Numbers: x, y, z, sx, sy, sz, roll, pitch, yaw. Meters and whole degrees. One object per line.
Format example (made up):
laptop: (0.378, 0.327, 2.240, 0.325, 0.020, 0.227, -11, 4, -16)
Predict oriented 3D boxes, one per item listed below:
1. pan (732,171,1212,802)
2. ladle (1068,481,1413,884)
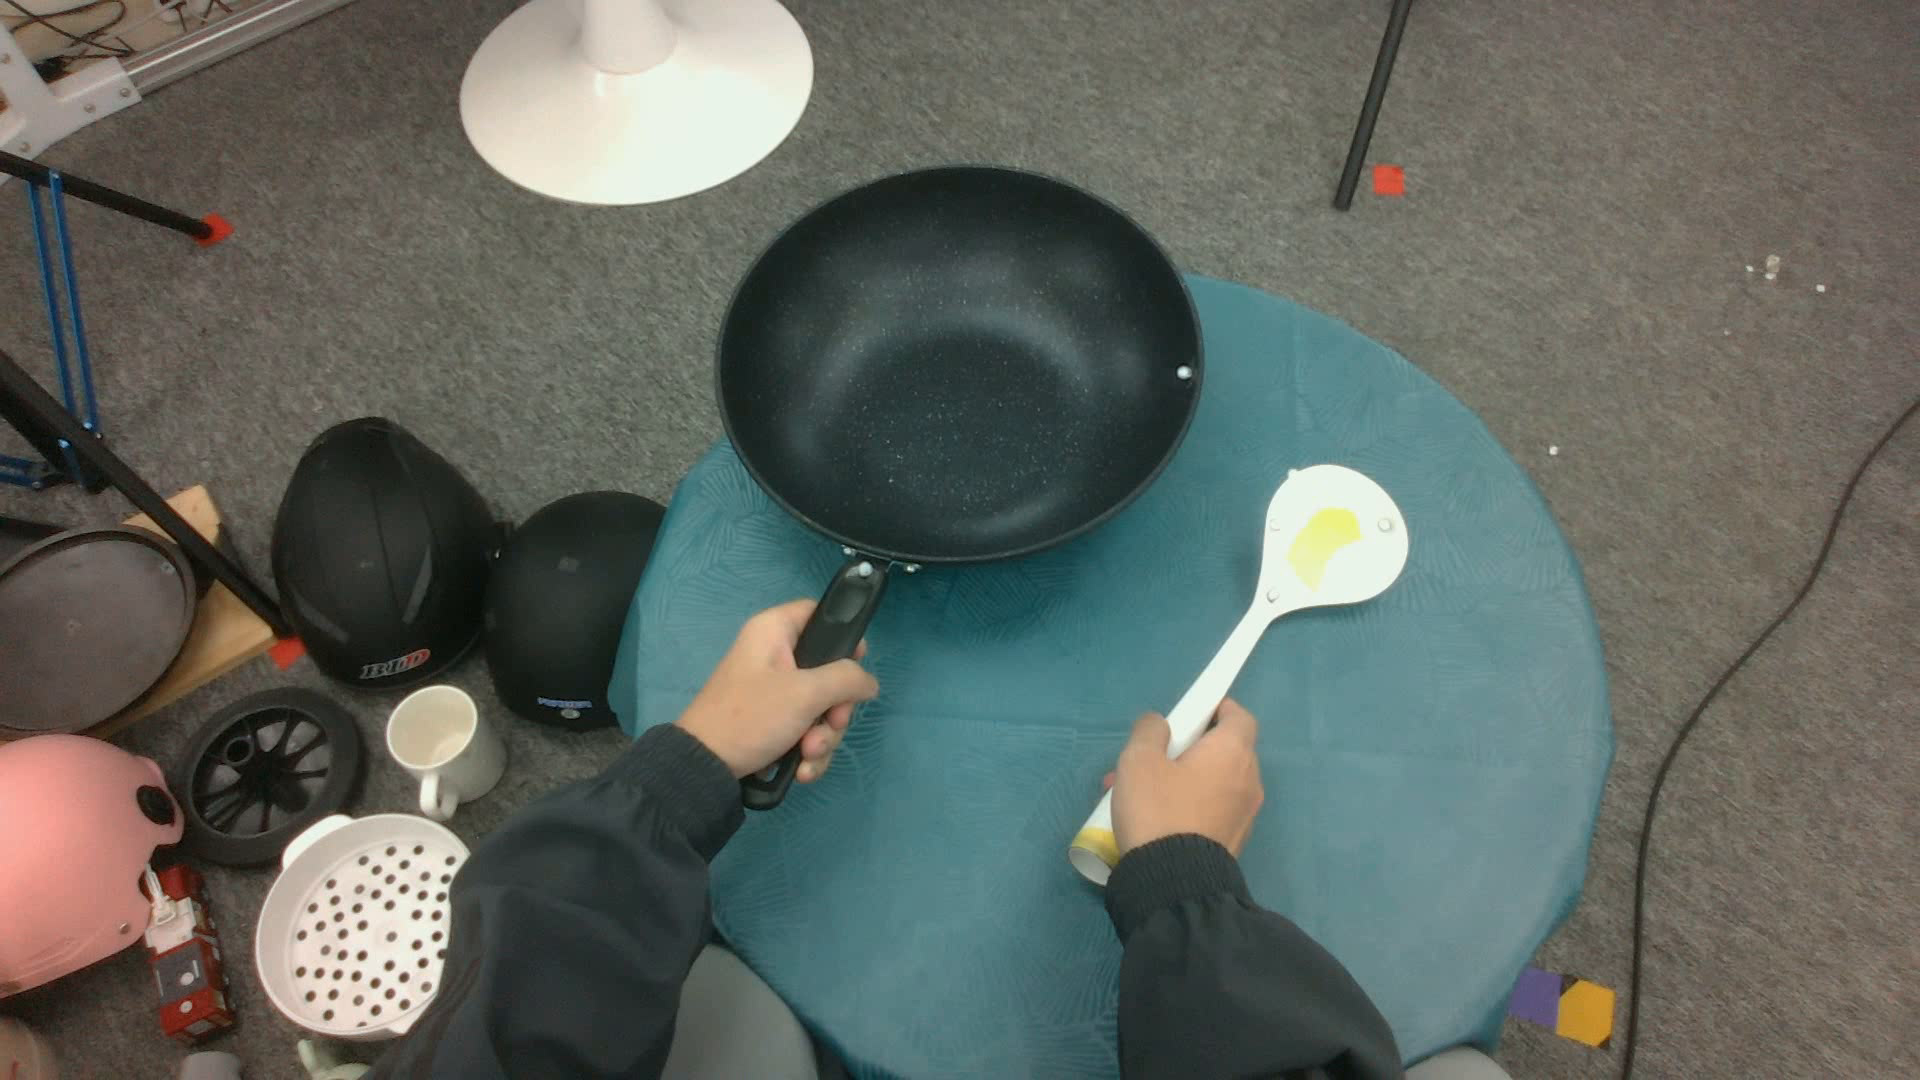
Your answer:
pan: (-0.018, -0.039, 0.872, 0.310, 0.111, 0.479, 13, 62, 13)
ladle: (0.168, 0.082, 0.816, 0.090, 0.069, 0.294, 48, 62, -10)
